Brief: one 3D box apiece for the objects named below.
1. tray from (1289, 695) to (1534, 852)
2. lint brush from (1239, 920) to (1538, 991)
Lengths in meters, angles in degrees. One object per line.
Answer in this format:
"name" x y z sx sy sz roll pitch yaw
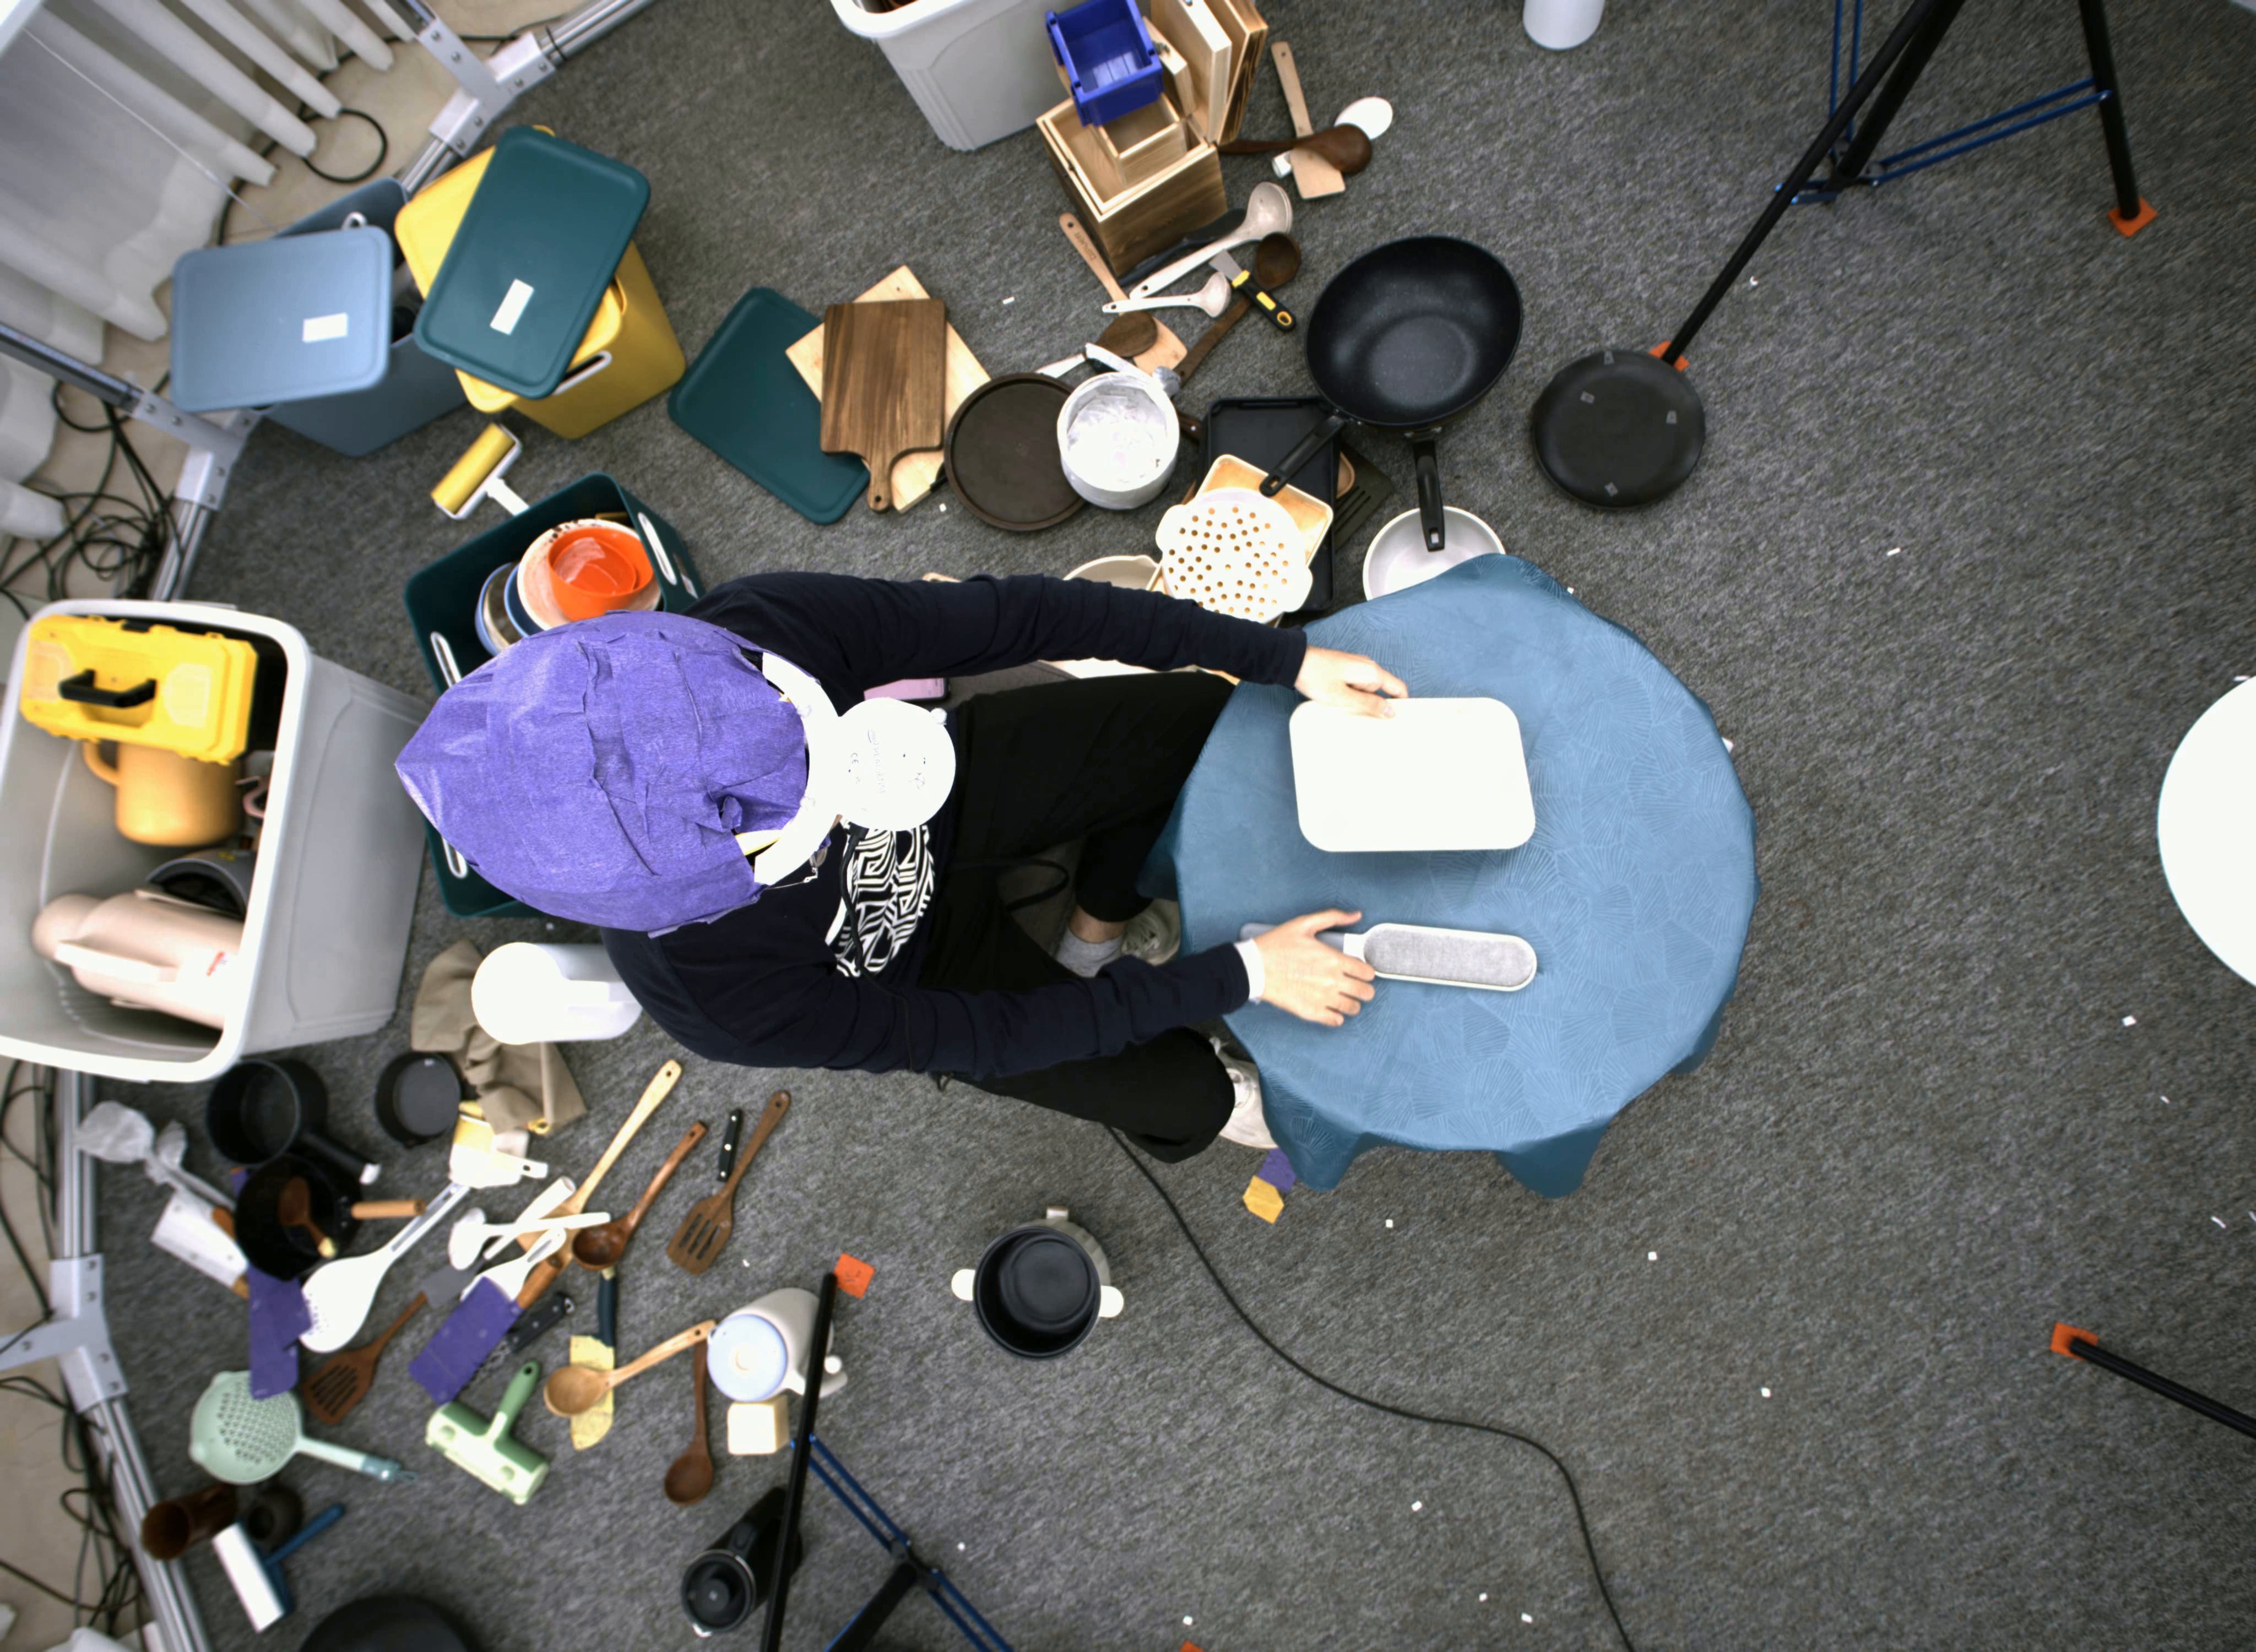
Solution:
"tray" 0.285 -0.055 1.392 0.240 0.018 0.168 -2 70 -3
"lint brush" 0.270 0.127 1.443 0.310 0.021 0.060 5 93 11
